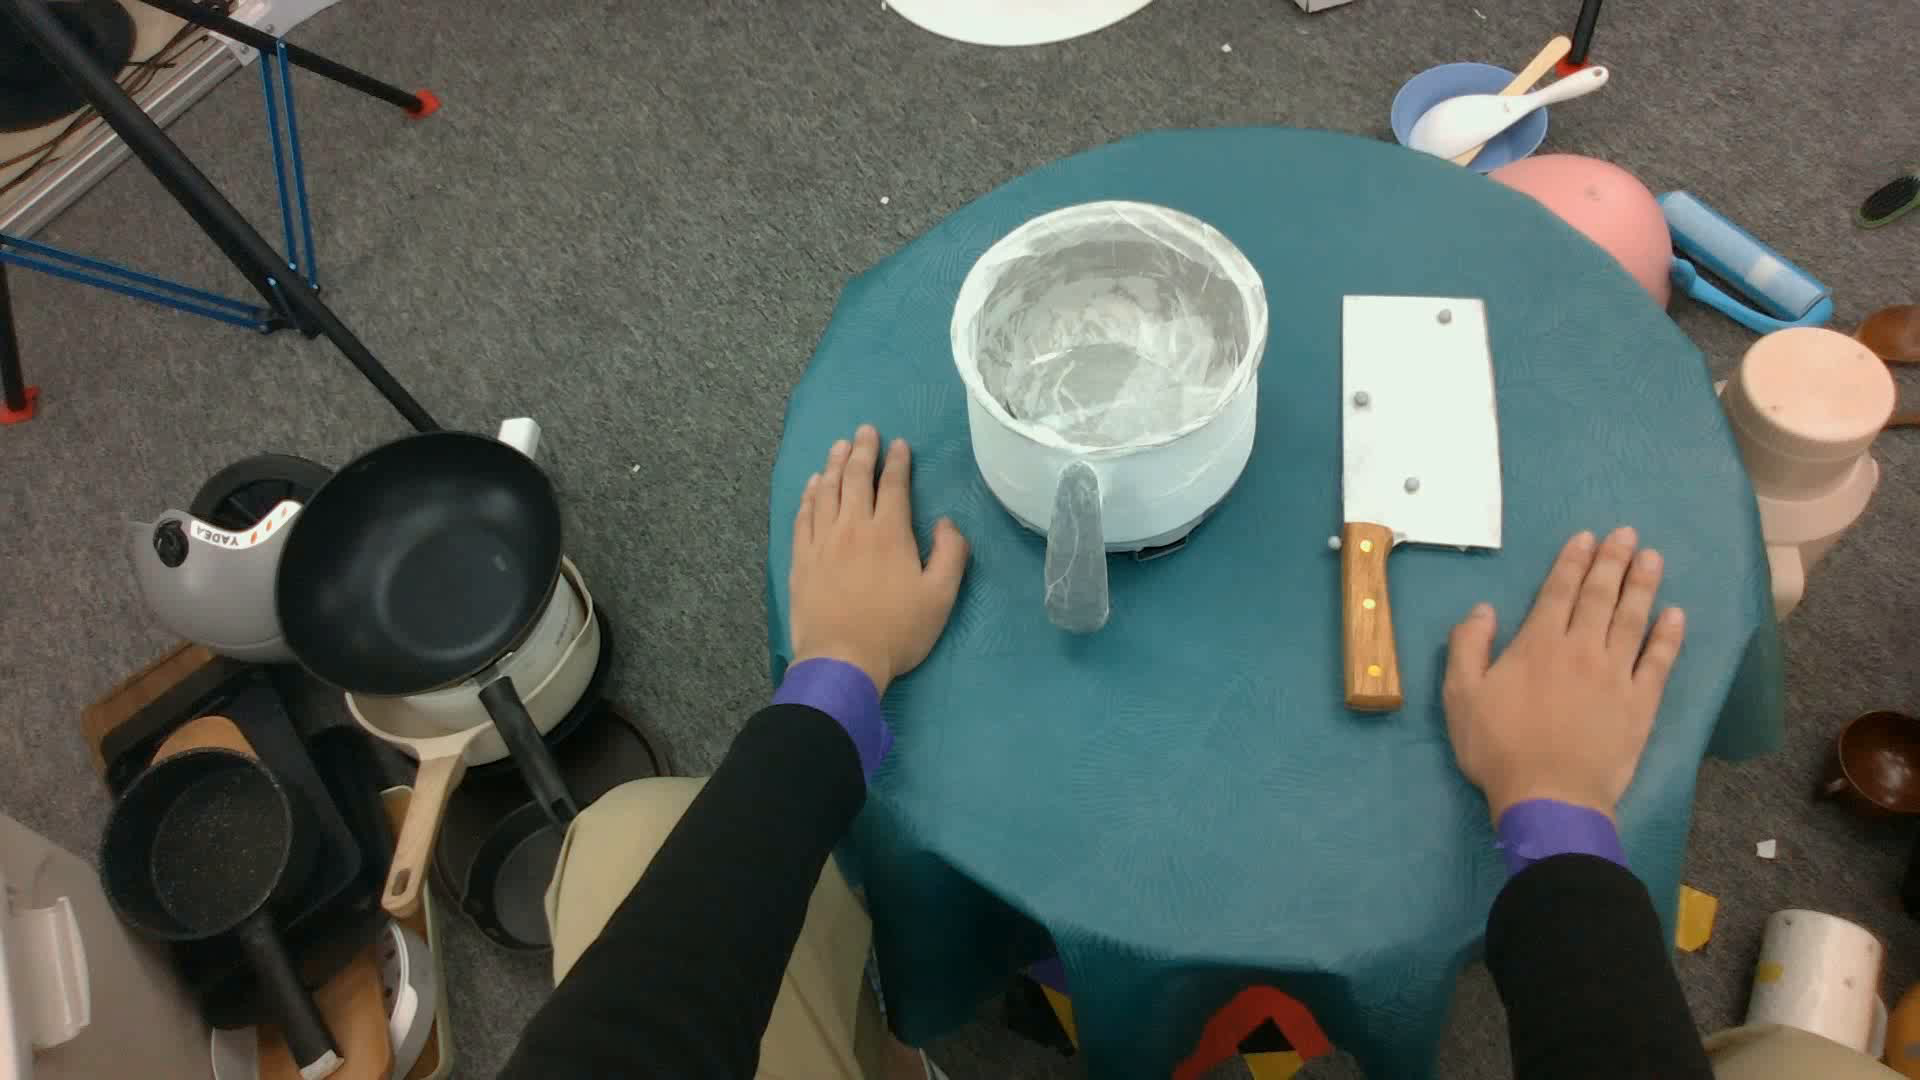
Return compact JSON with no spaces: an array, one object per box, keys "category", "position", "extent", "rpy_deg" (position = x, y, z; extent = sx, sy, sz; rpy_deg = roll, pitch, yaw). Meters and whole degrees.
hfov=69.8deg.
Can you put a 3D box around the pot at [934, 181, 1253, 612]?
[{"category":"pot","position":[0.076,-0.080,0.811],"extent":[0.178,0.136,0.234],"rpy_deg":[5,61,11]}]

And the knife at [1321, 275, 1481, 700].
[{"category":"knife","position":[0.267,-0.043,0.838],"extent":[0.093,0.021,0.307],"rpy_deg":[2,60,10]}]
